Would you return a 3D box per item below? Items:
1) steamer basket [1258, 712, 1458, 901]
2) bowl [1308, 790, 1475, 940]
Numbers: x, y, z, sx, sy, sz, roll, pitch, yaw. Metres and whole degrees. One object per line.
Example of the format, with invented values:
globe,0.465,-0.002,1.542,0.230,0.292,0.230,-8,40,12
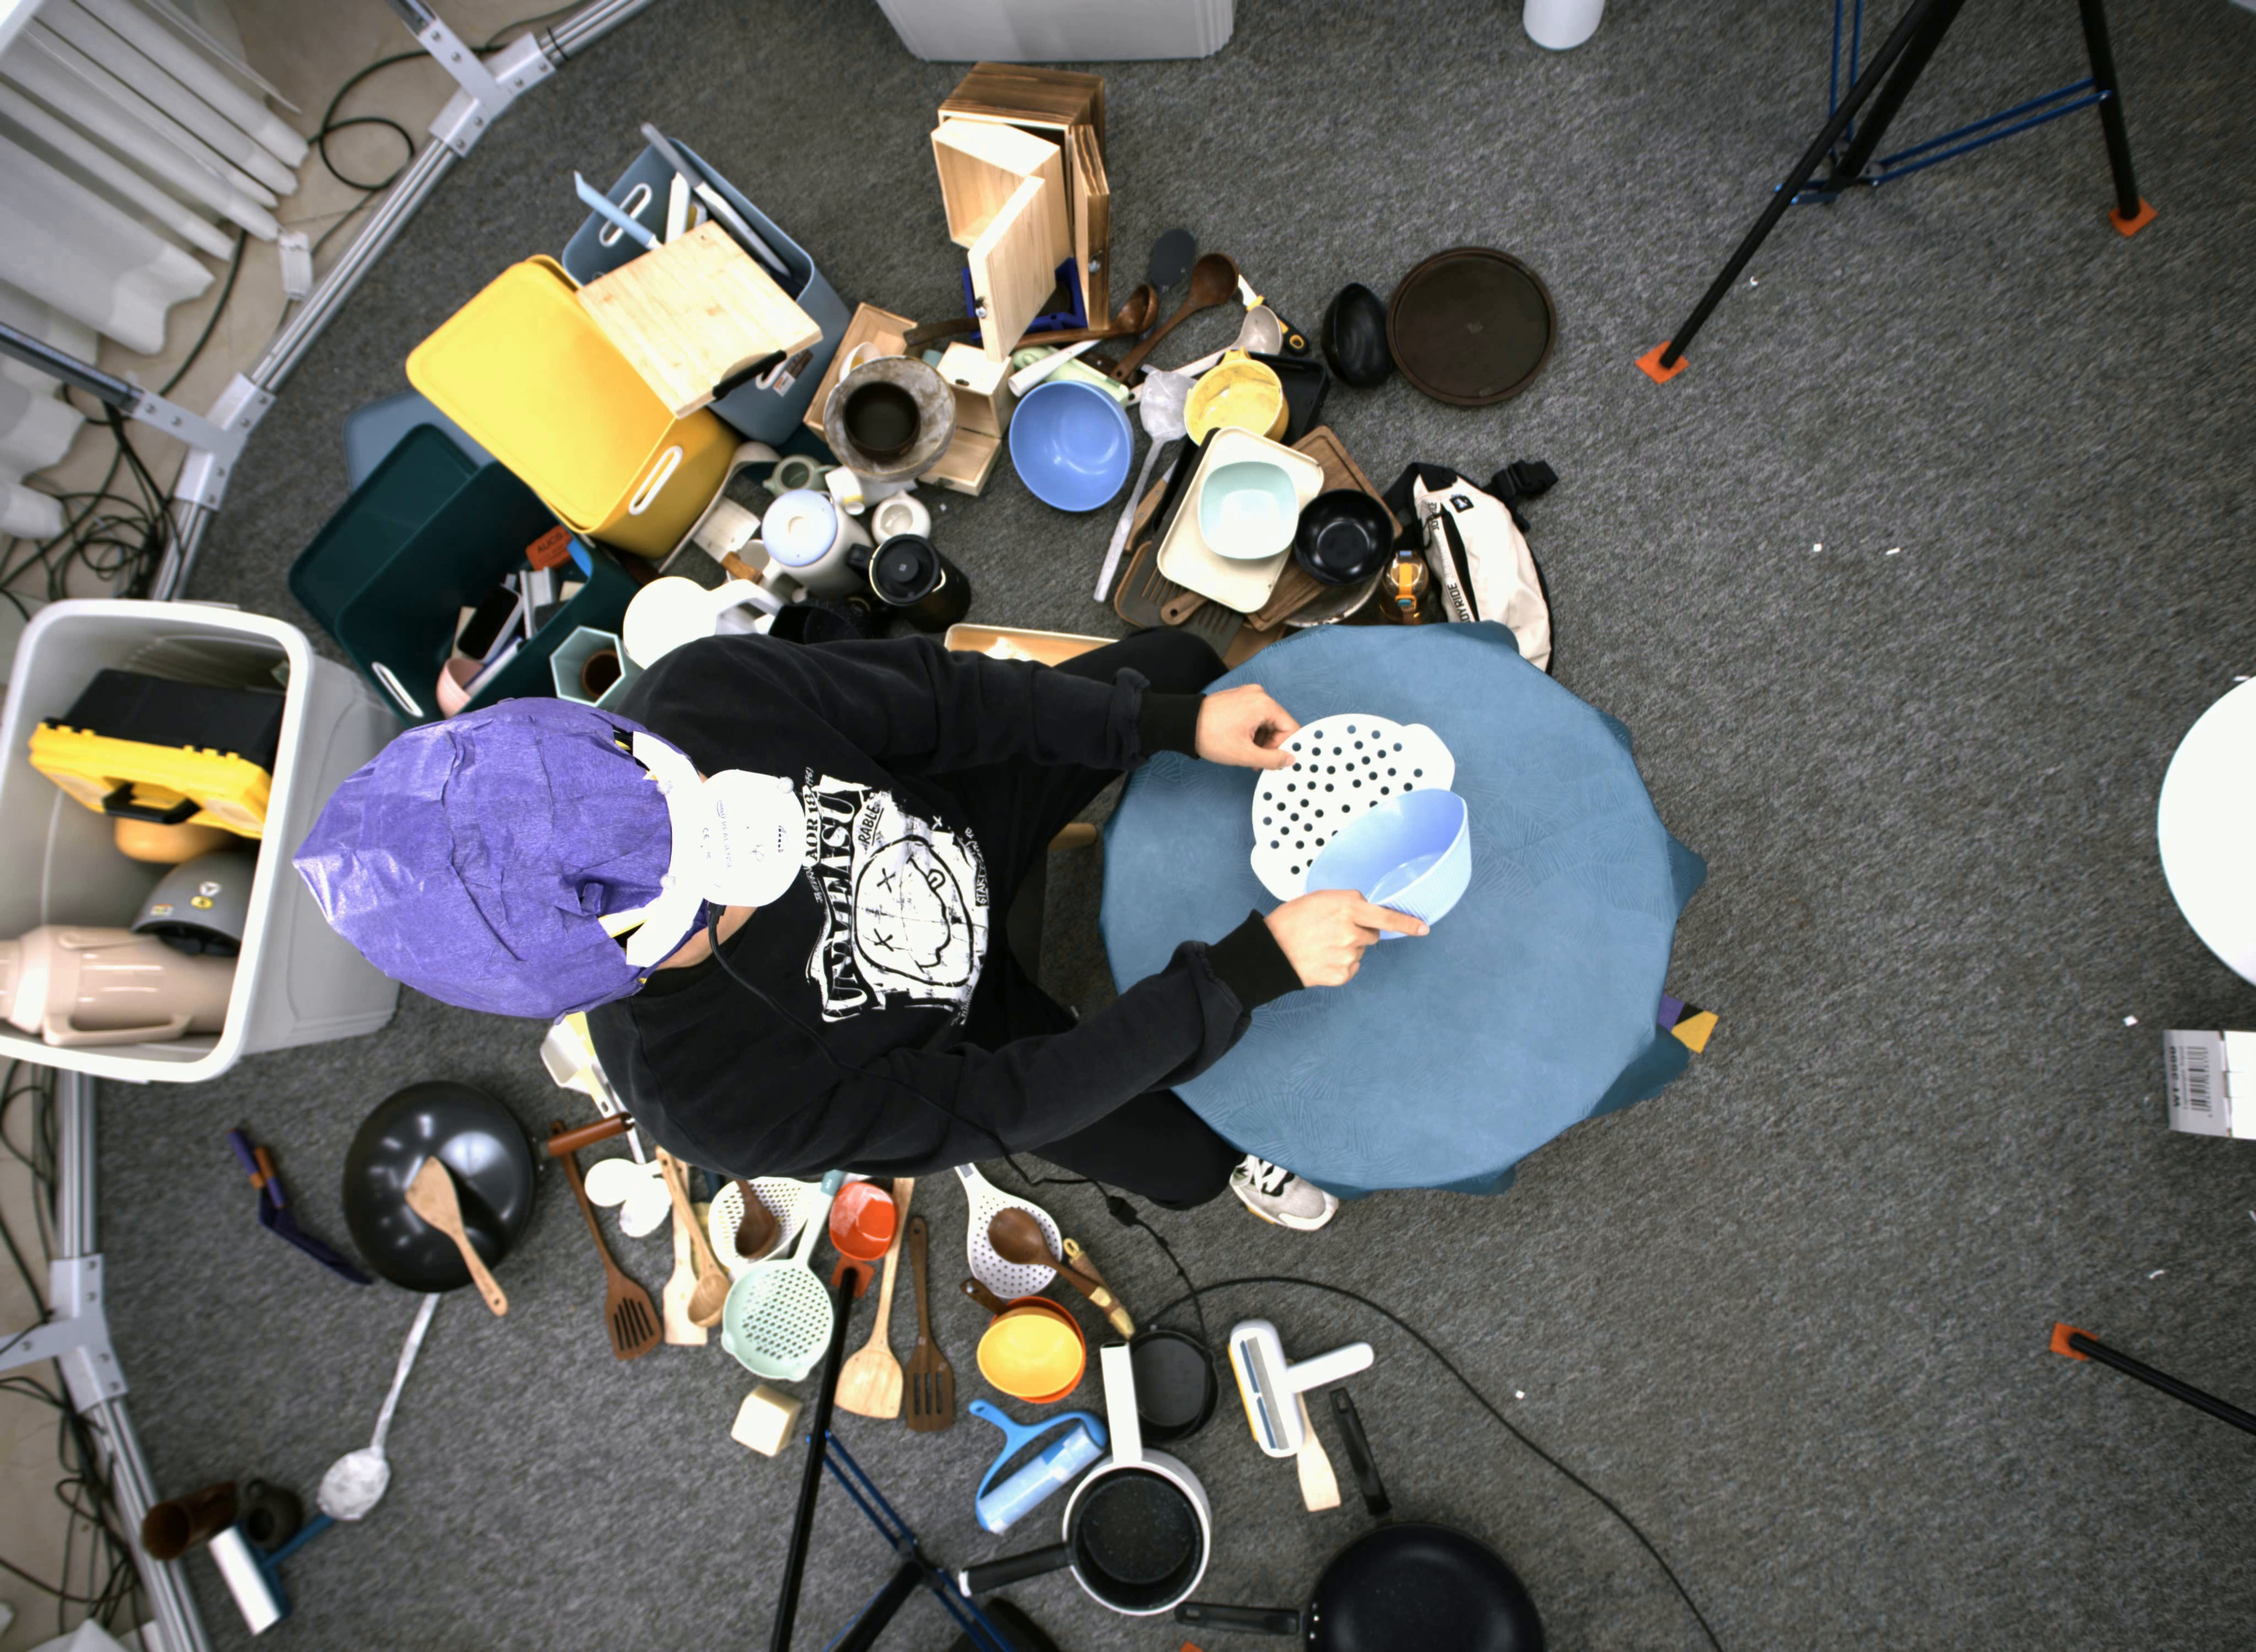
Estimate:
steamer basket,0.234,-0.017,1.427,0.231,0.069,0.202,-40,93,5
bowl,0.264,0.046,1.322,0.177,0.173,0.071,-37,111,4
